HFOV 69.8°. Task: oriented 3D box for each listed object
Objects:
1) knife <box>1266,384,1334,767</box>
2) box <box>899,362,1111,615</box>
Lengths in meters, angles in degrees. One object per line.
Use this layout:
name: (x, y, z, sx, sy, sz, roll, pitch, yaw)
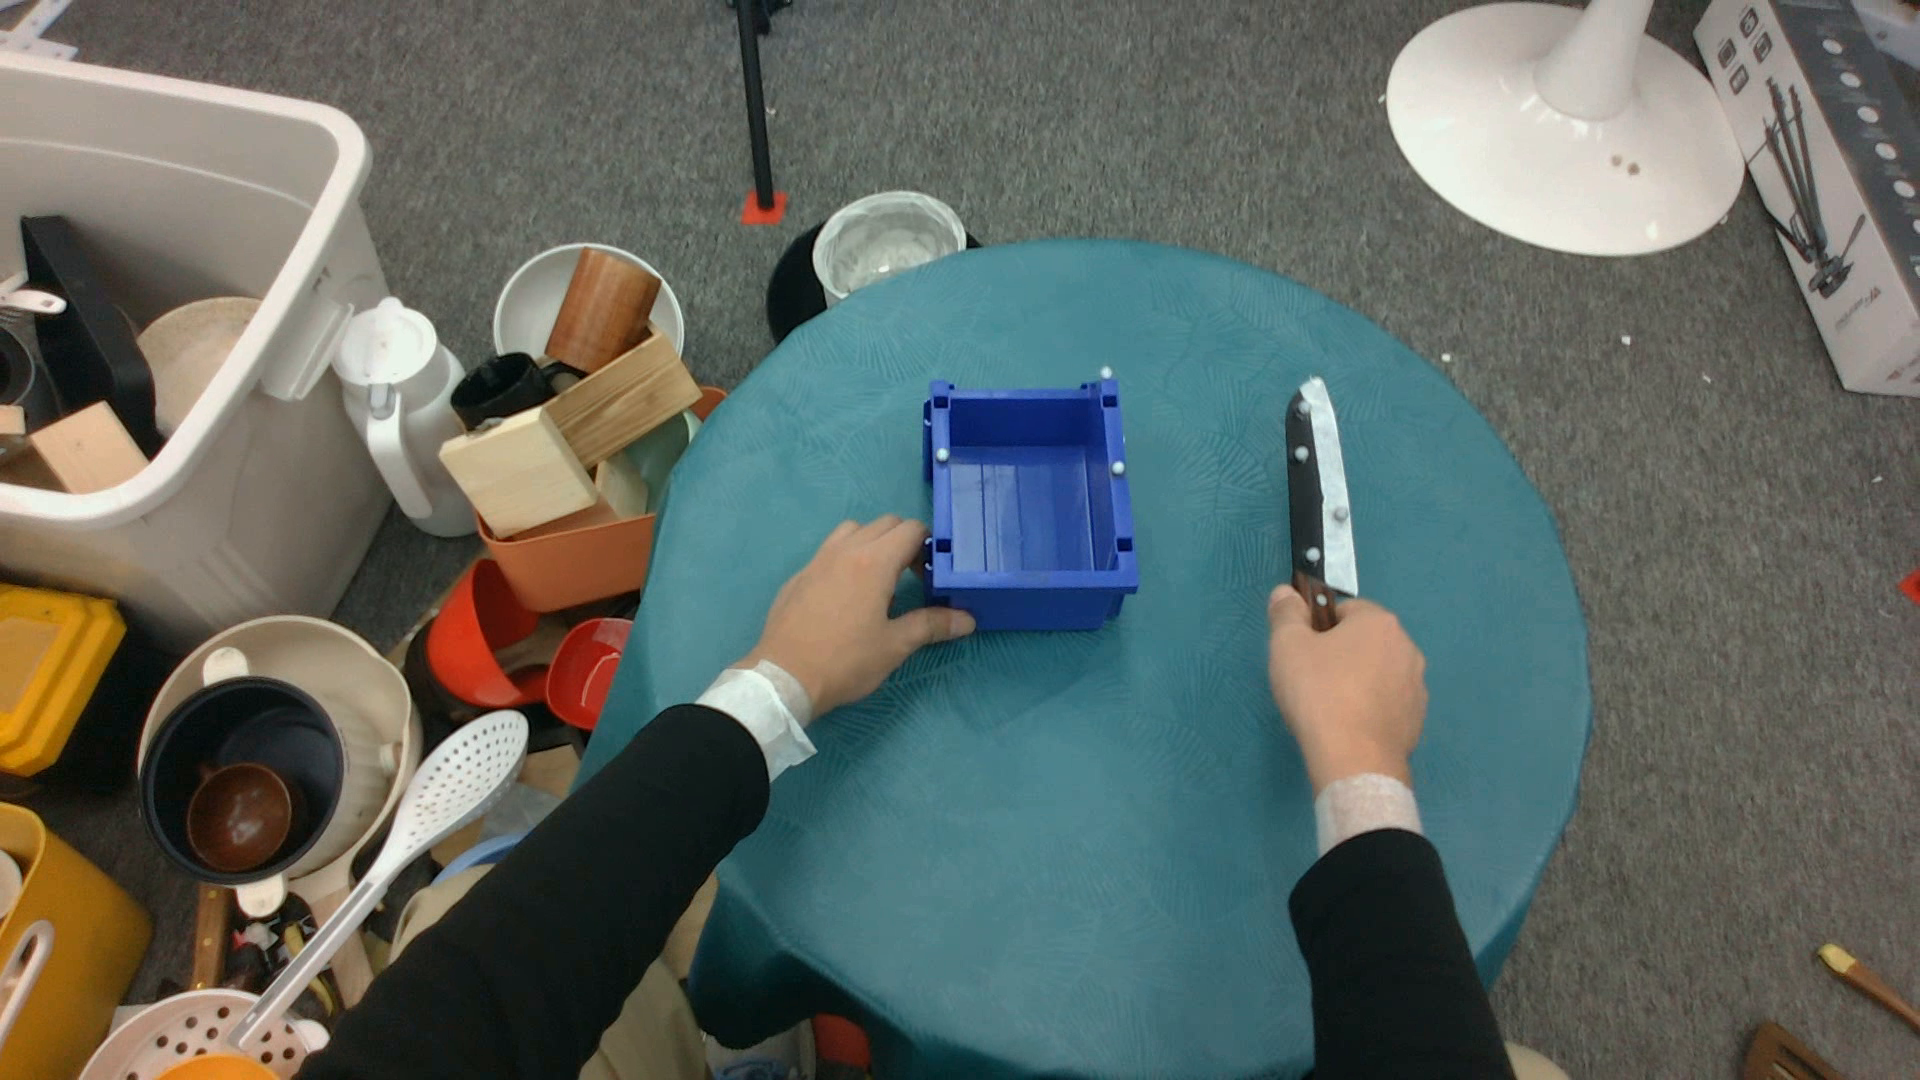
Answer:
knife: (0.206, 0.009, 0.834, 0.050, 0.020, 0.290, 21, 52, -14)
box: (0.026, -0.040, 0.876, 0.124, 0.081, 0.180, 2, 61, -2)
